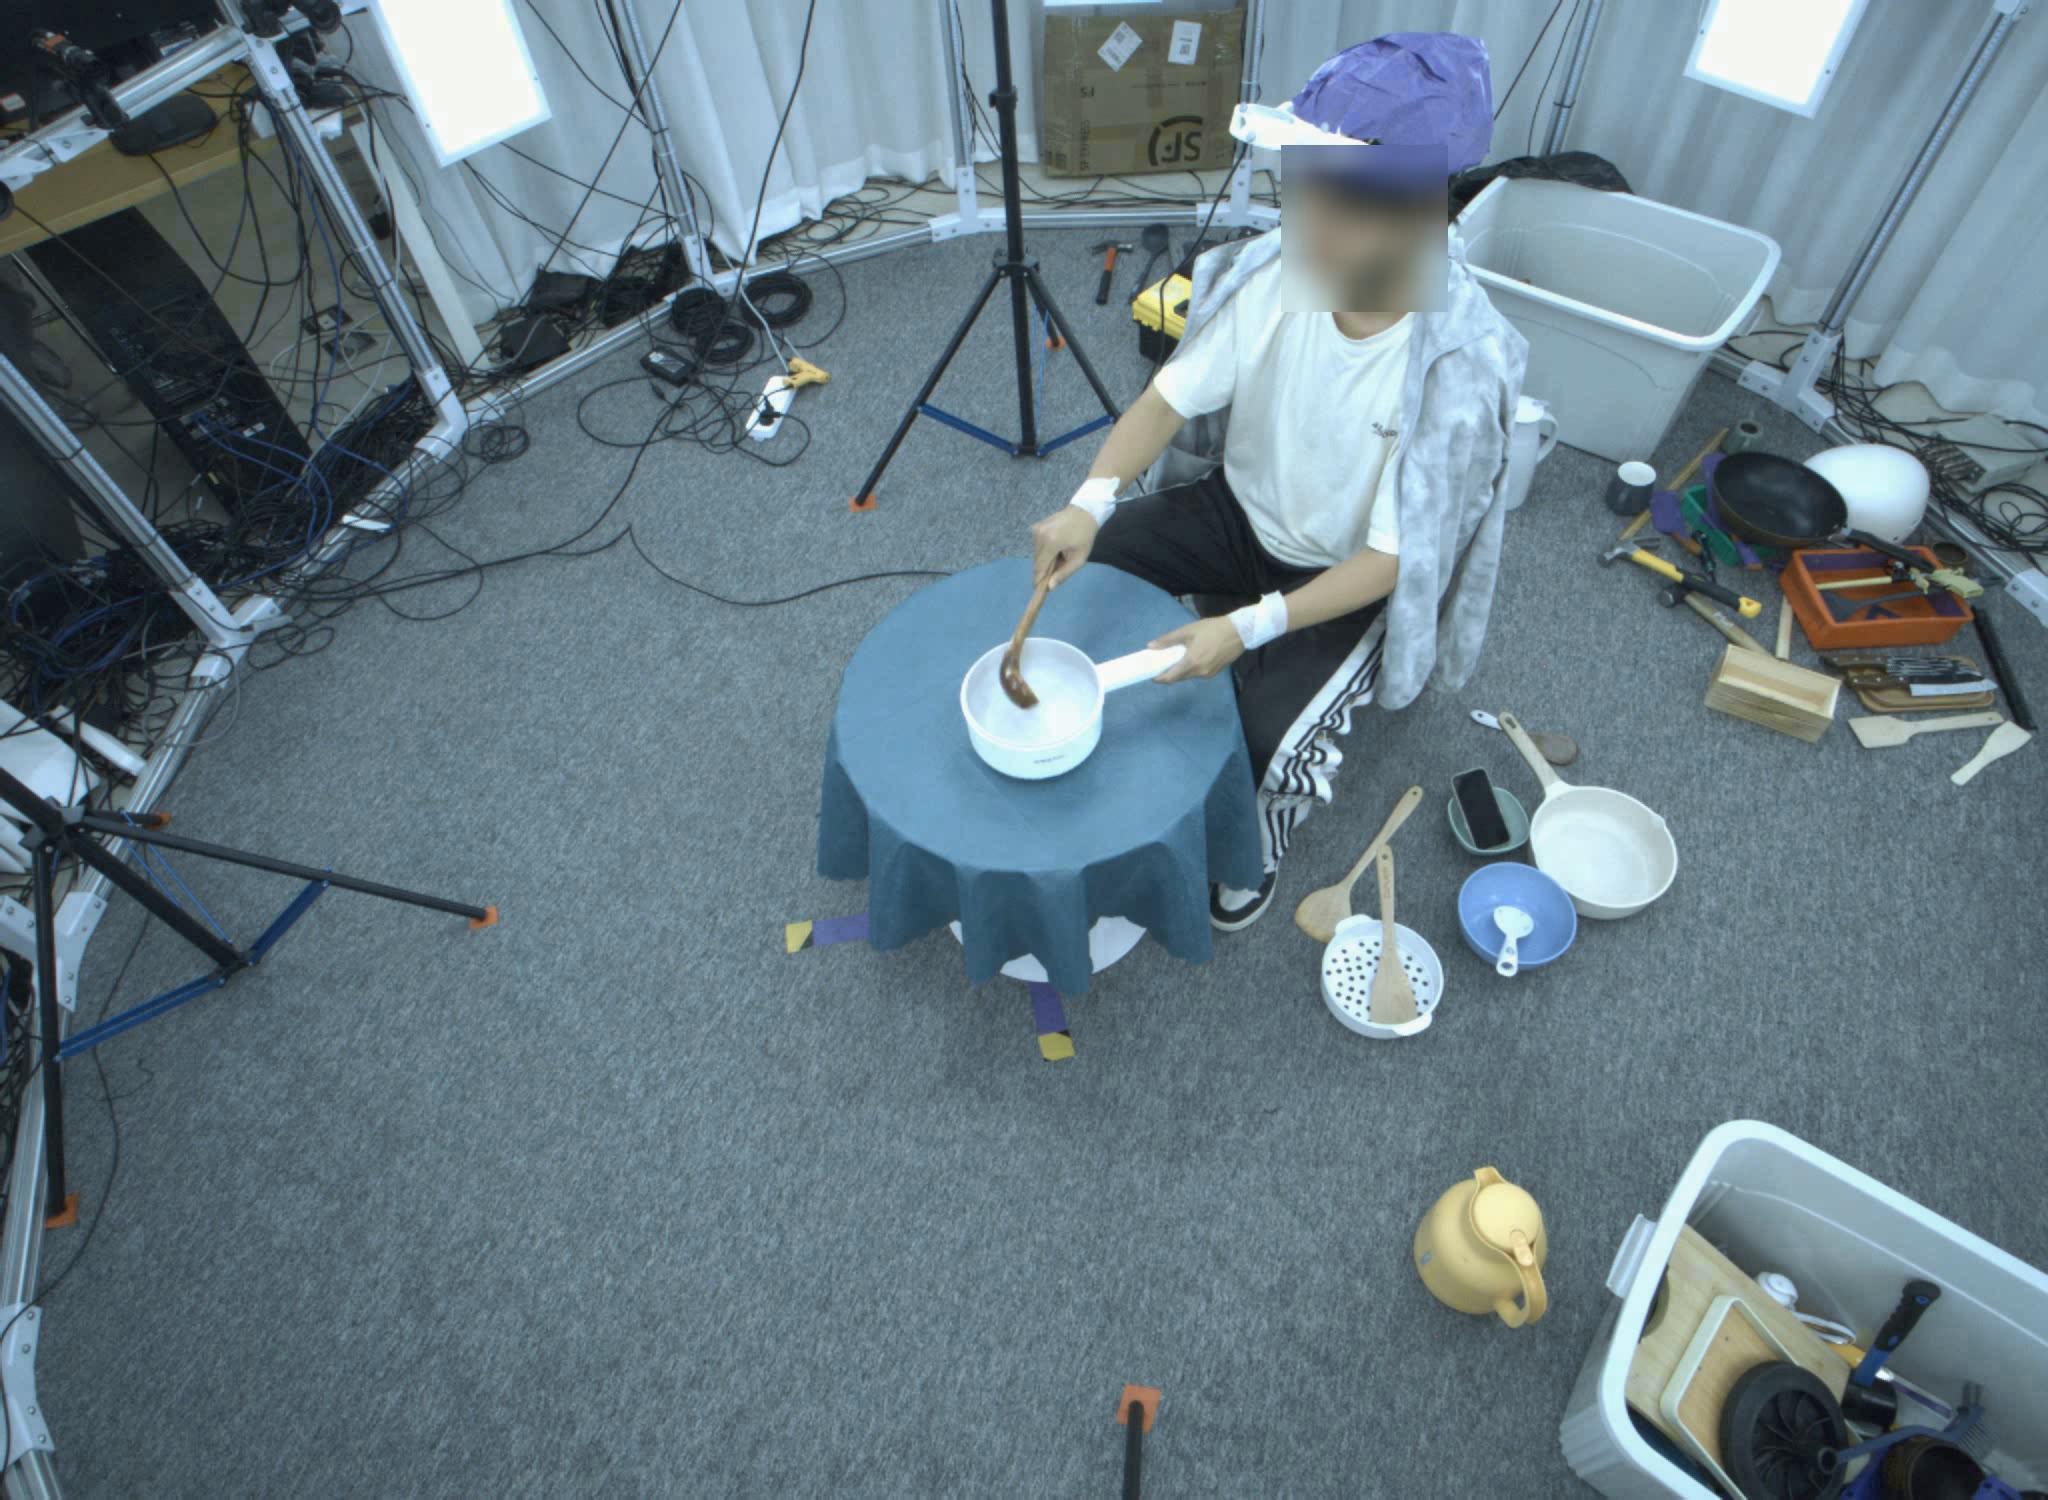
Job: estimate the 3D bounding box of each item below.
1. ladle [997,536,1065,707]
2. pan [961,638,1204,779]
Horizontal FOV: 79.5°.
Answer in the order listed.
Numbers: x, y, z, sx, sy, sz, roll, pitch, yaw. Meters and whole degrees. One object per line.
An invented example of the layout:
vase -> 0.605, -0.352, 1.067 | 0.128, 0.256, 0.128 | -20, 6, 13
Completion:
ladle -> 0.030, -0.186, 1.738 | 0.076, 0.083, 0.274 | 20, 68, 13
pan -> 0.087, -0.076, 1.779 | 0.357, 0.103, 0.198 | -17, 55, -10
